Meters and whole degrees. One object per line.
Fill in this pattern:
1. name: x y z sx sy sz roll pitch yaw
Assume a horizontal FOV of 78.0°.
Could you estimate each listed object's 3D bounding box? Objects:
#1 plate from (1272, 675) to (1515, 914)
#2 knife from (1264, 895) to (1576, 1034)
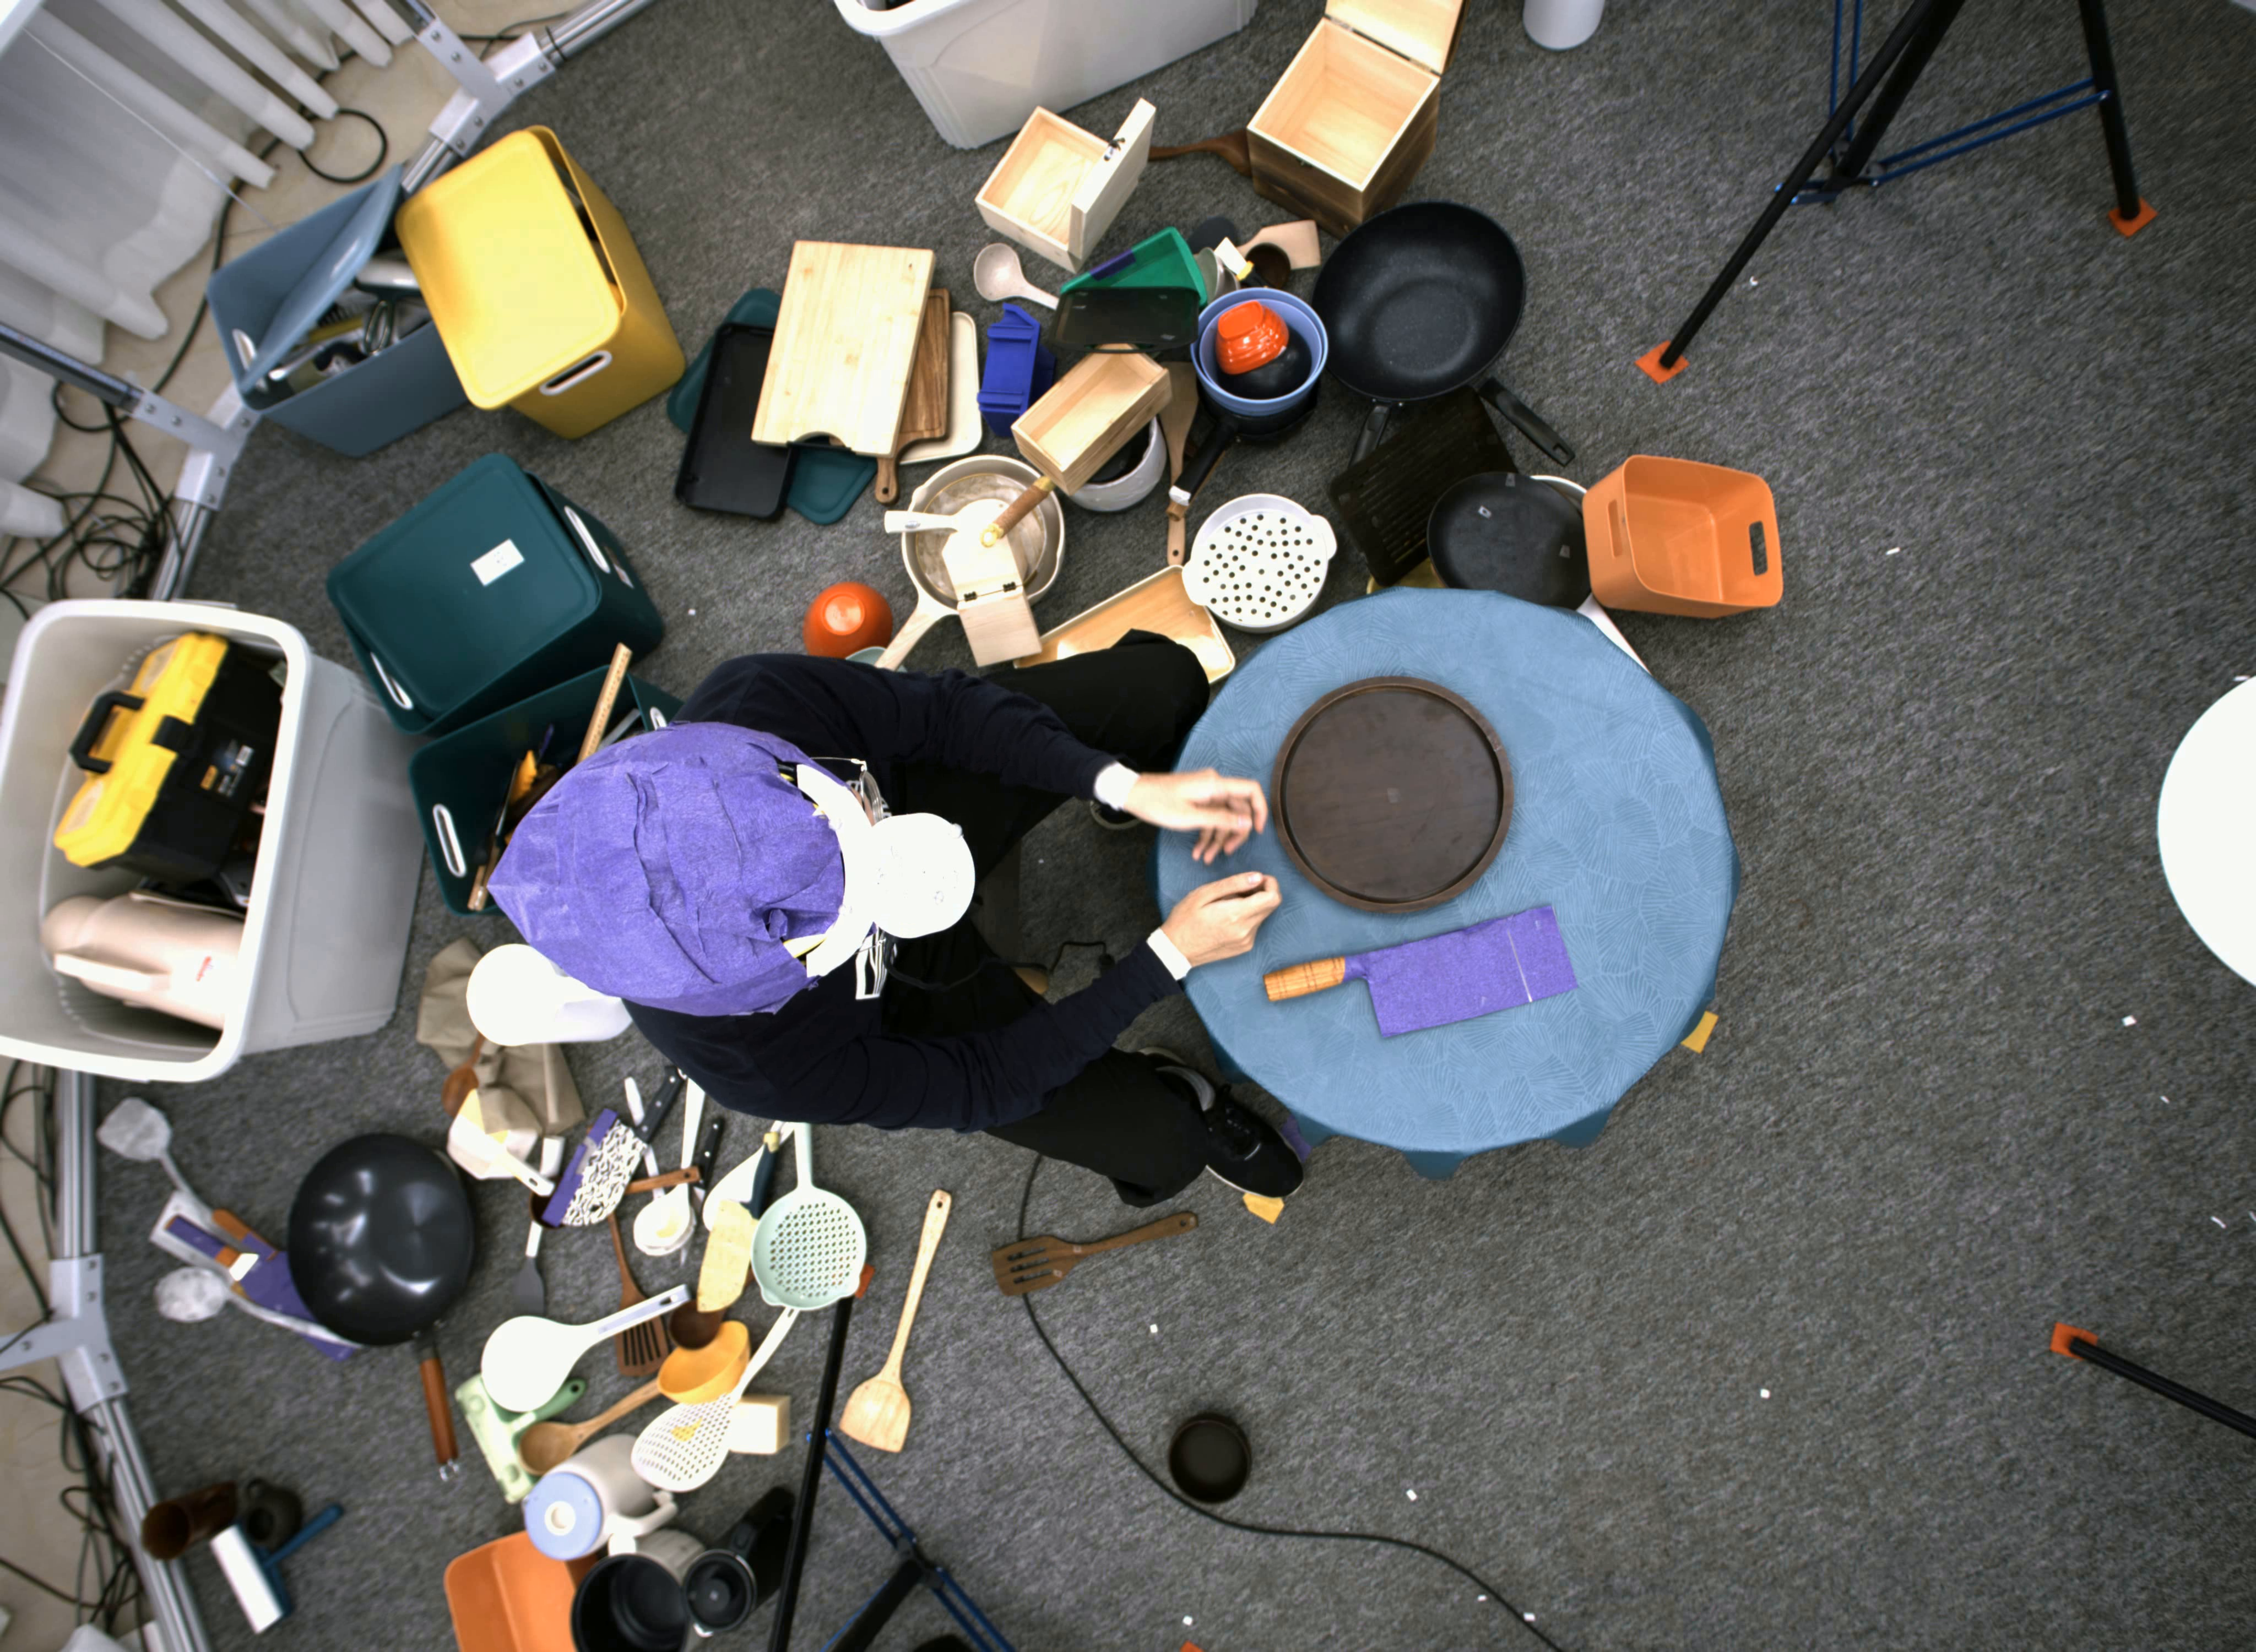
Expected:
1. plate: 0.278 -0.035 1.452 0.256 0.029 0.253 -1 86 10
2. knife: 0.304 0.160 1.435 0.317 0.032 0.103 -16 84 9
